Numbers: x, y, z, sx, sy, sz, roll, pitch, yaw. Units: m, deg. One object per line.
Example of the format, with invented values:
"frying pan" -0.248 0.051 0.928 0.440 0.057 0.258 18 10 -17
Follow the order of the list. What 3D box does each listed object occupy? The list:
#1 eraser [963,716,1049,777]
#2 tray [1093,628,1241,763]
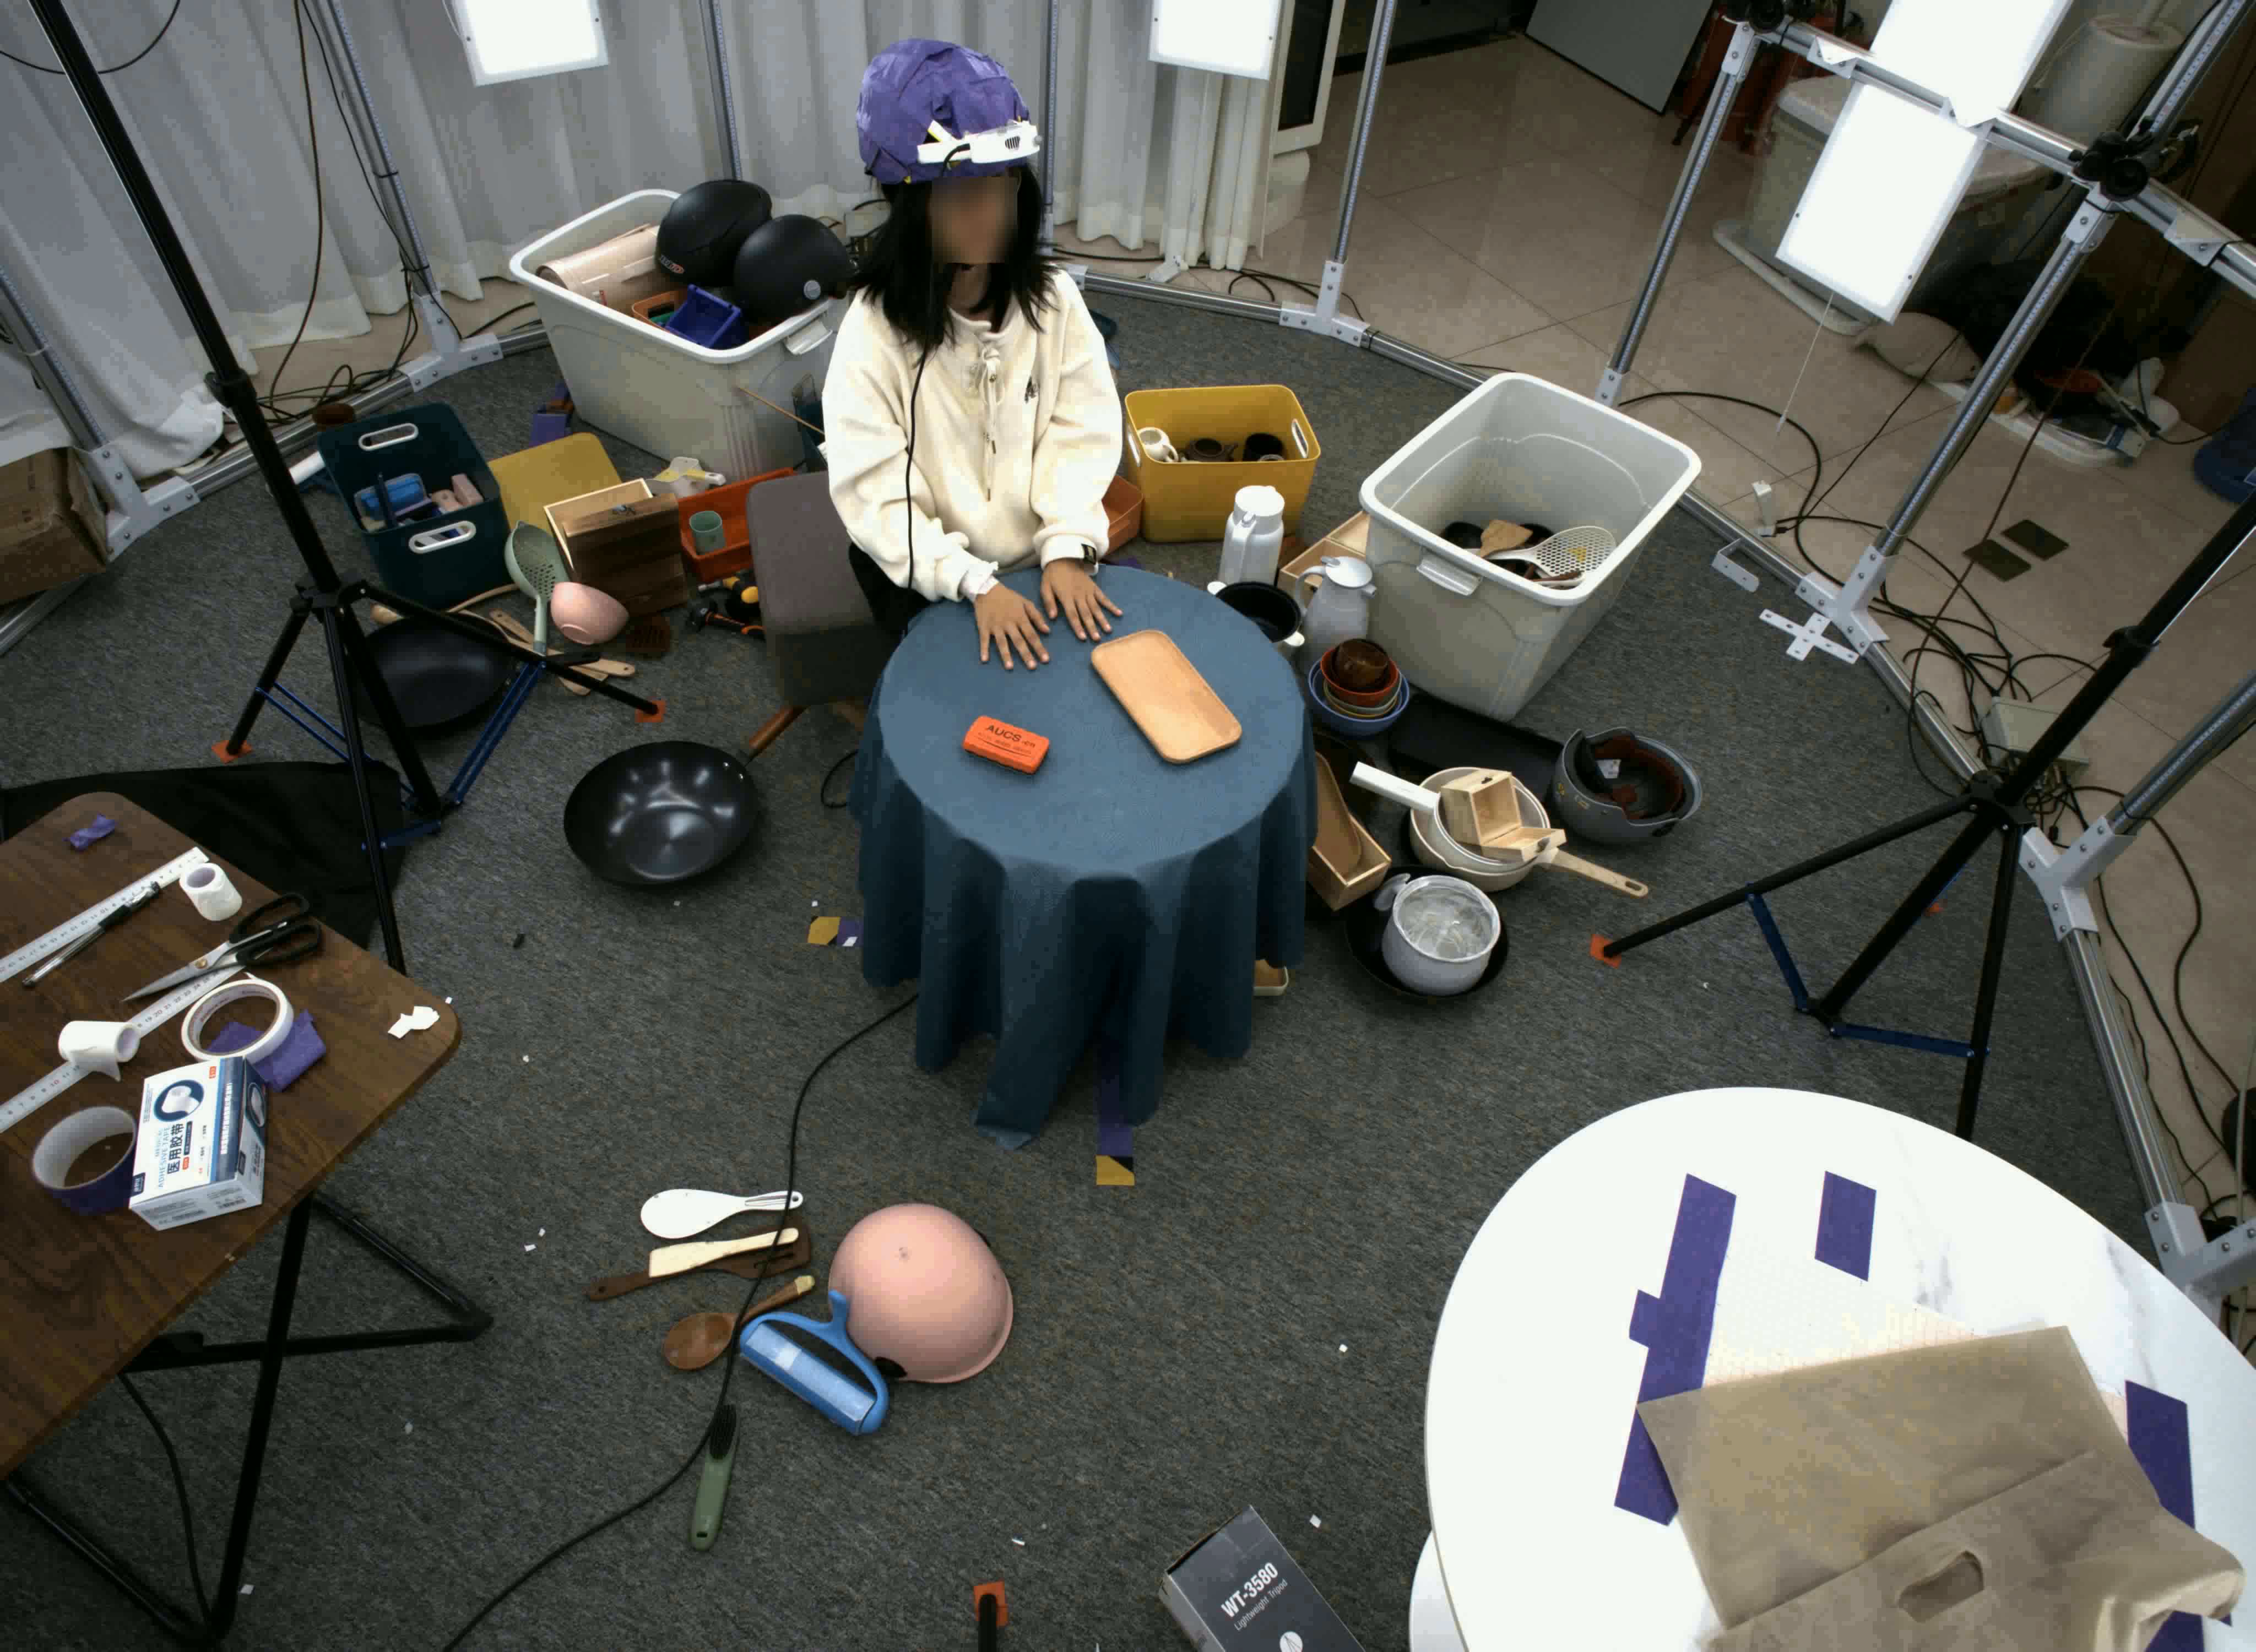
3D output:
"eraser" -0.165 -0.109 1.738 0.108 0.022 0.060 21 52 14
"tray" 0.053 -0.189 1.825 0.131 0.022 0.256 -18 52 -21
